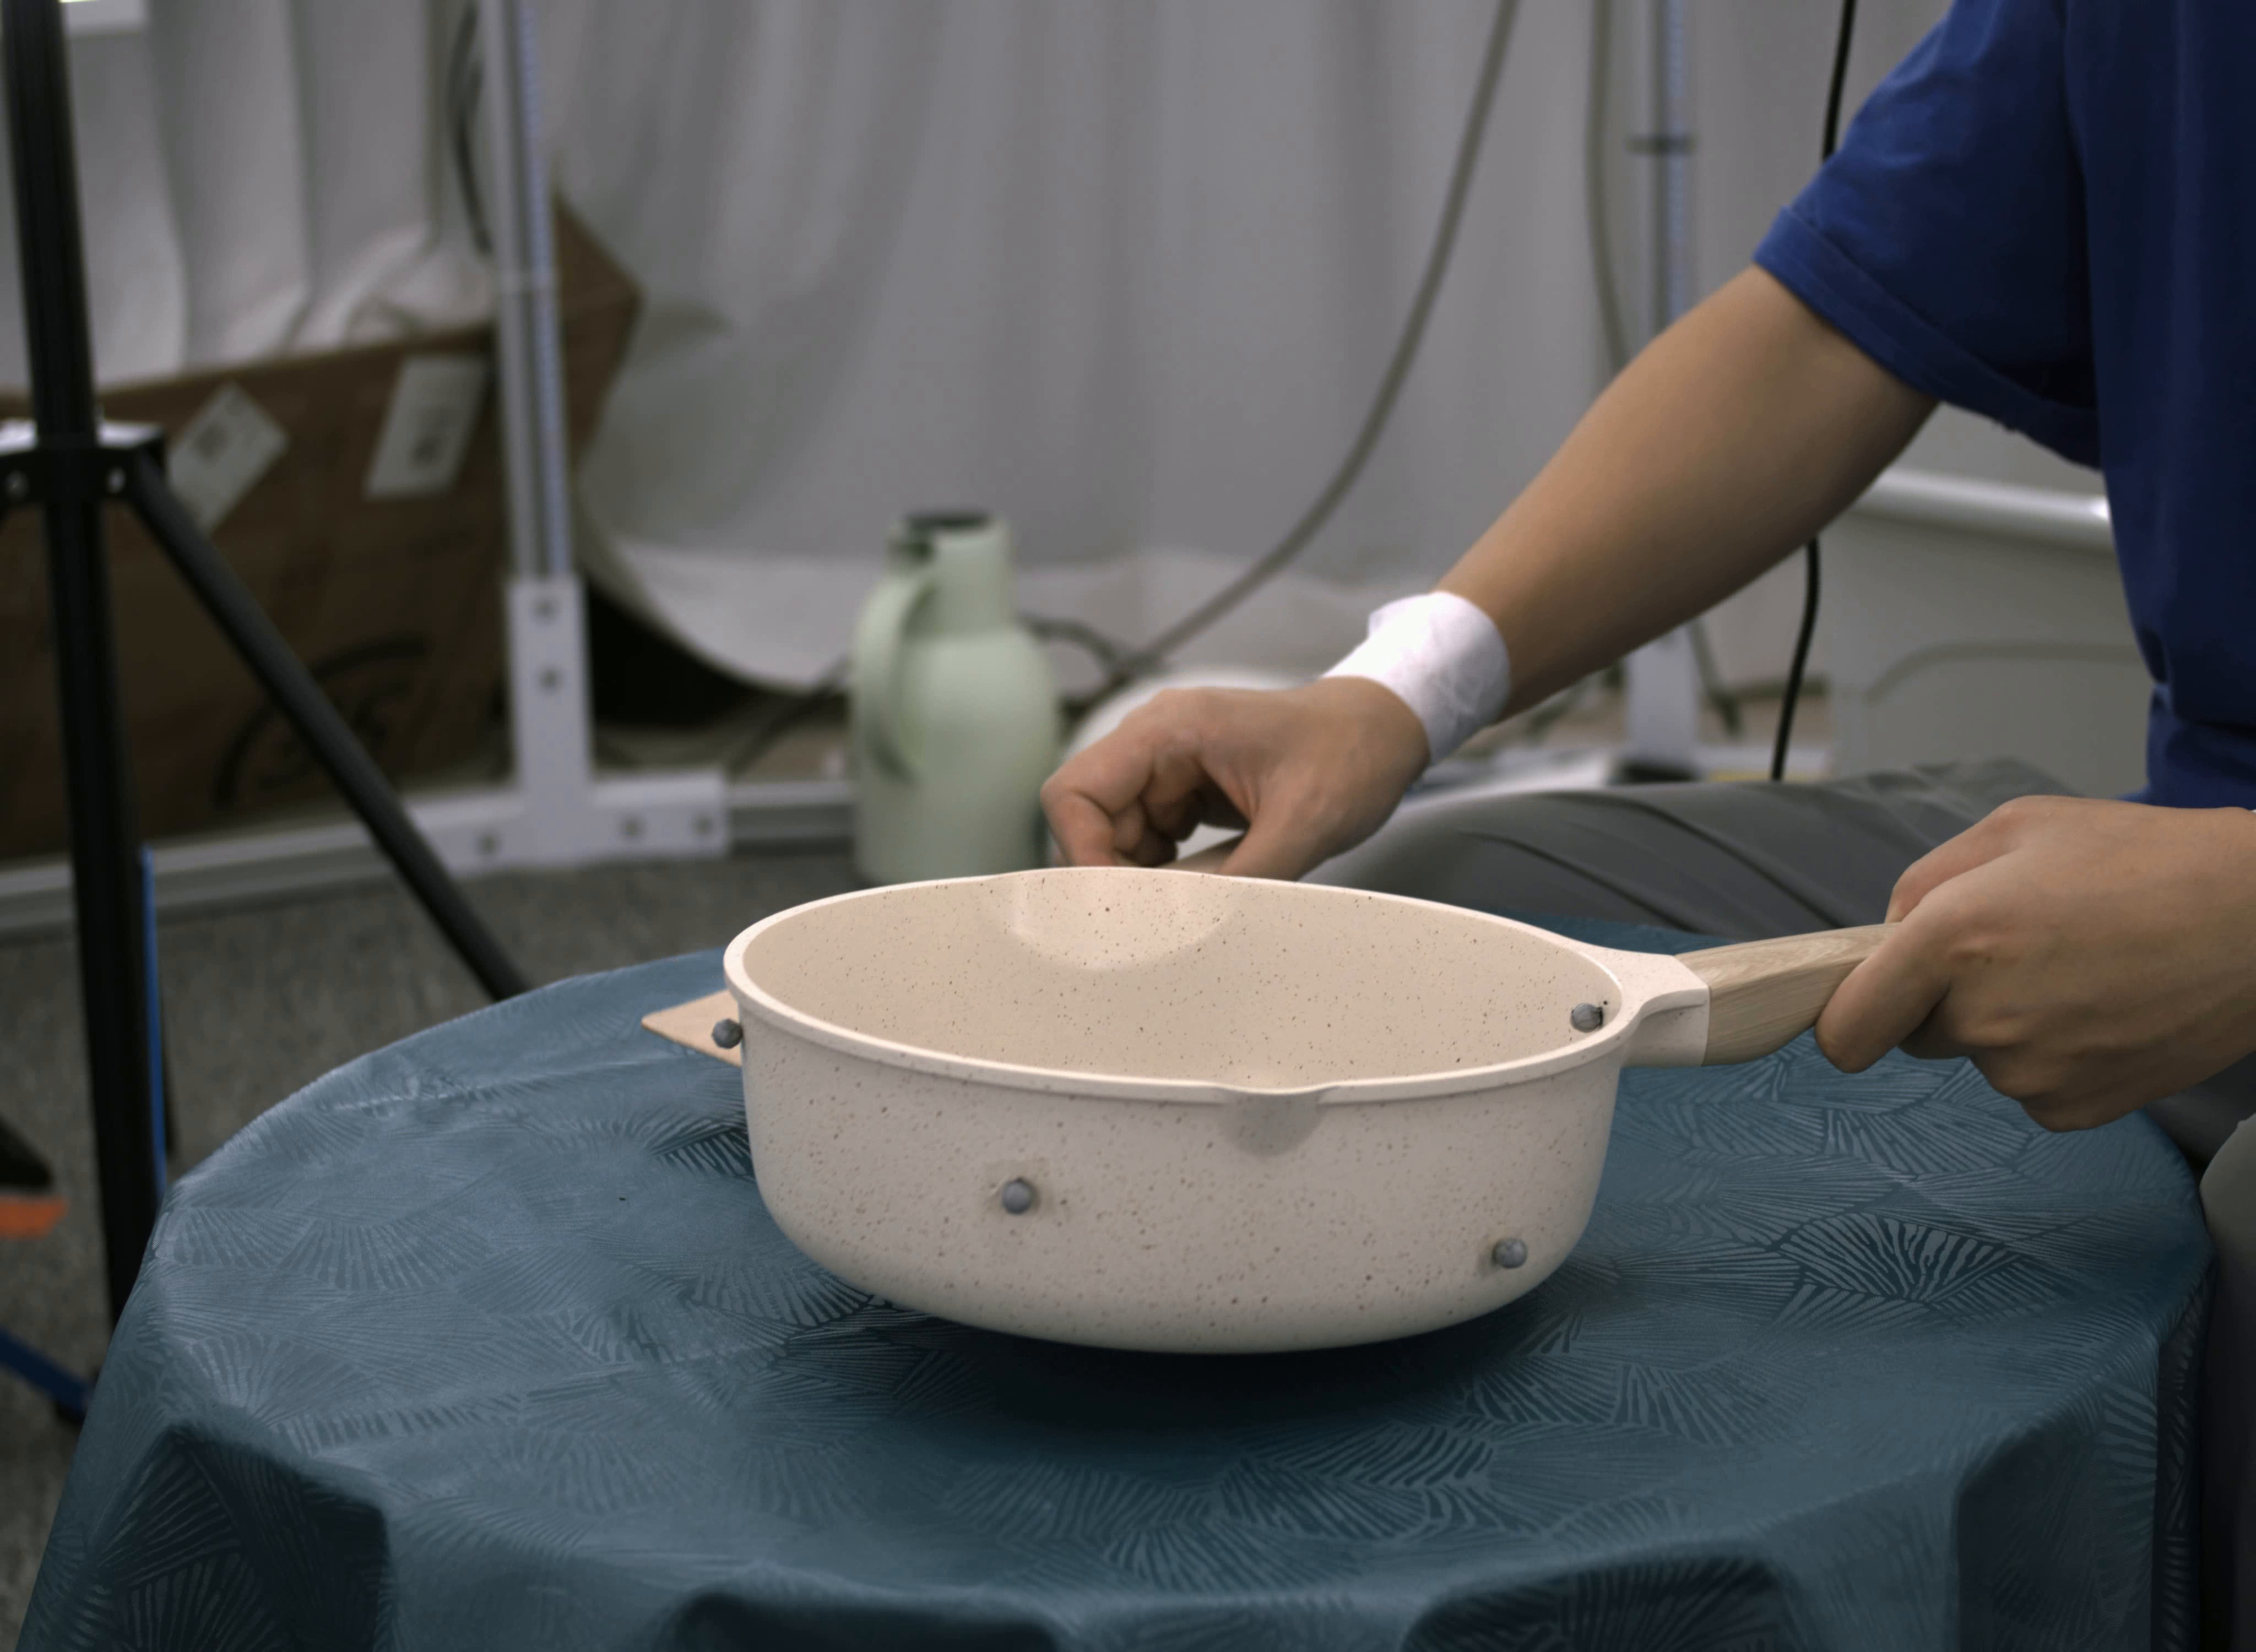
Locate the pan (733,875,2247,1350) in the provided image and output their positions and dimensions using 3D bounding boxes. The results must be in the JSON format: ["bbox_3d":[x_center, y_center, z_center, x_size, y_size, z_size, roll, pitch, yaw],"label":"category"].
[{"bbox_3d":[0.106,0.071,1.462,0.429,0.102,0.266,1,10,-10],"label":"pan"}]

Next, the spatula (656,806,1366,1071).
[{"bbox_3d":[-0.025,0.033,1.705,0.074,0.010,0.286,19,27,40],"label":"spatula"}]
